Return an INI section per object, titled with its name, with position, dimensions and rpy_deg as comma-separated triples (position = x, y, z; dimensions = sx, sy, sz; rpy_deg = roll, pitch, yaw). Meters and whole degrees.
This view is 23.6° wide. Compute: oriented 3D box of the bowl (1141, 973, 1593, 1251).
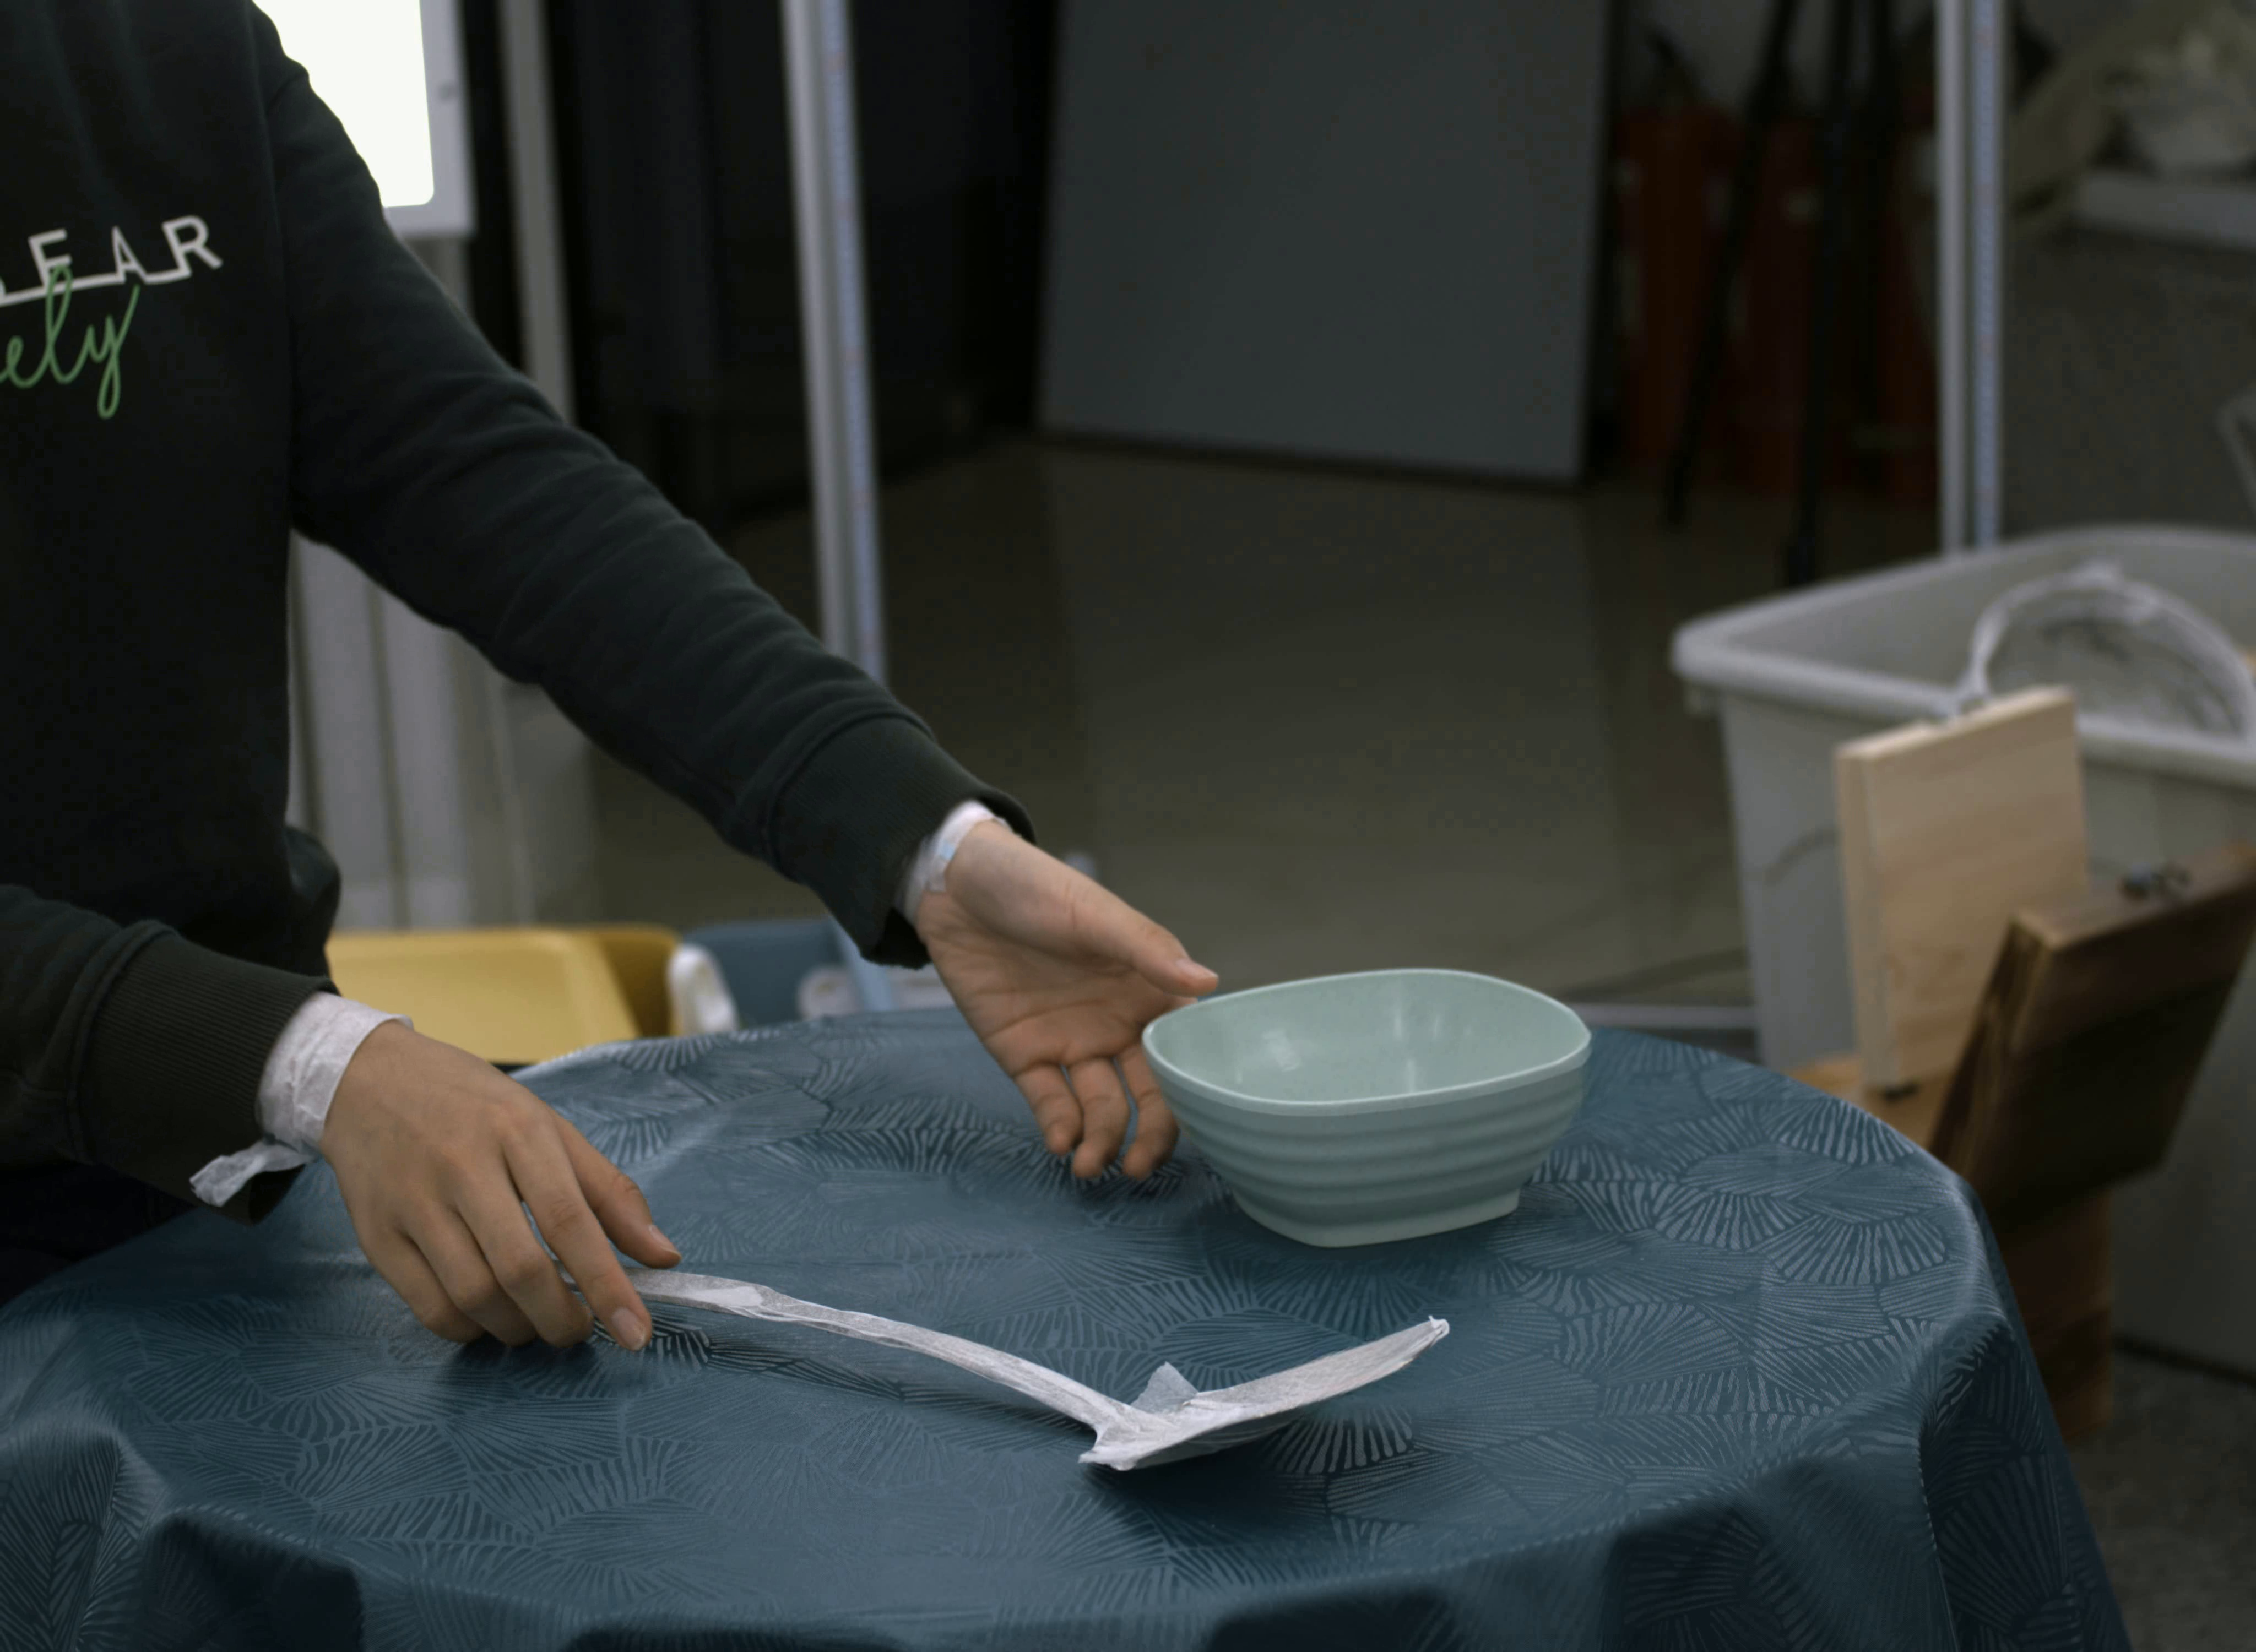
[bowl]
position = 0.077, 0.095, 1.738
dimensions = 0.149, 0.059, 0.152
rpy_deg = -1, 14, -1

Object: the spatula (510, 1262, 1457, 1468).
[spatula]
position = -0.064, 0.148, 1.602
dimensions = 0.368, 0.045, 0.097
rpy_deg = 8, 20, 40
